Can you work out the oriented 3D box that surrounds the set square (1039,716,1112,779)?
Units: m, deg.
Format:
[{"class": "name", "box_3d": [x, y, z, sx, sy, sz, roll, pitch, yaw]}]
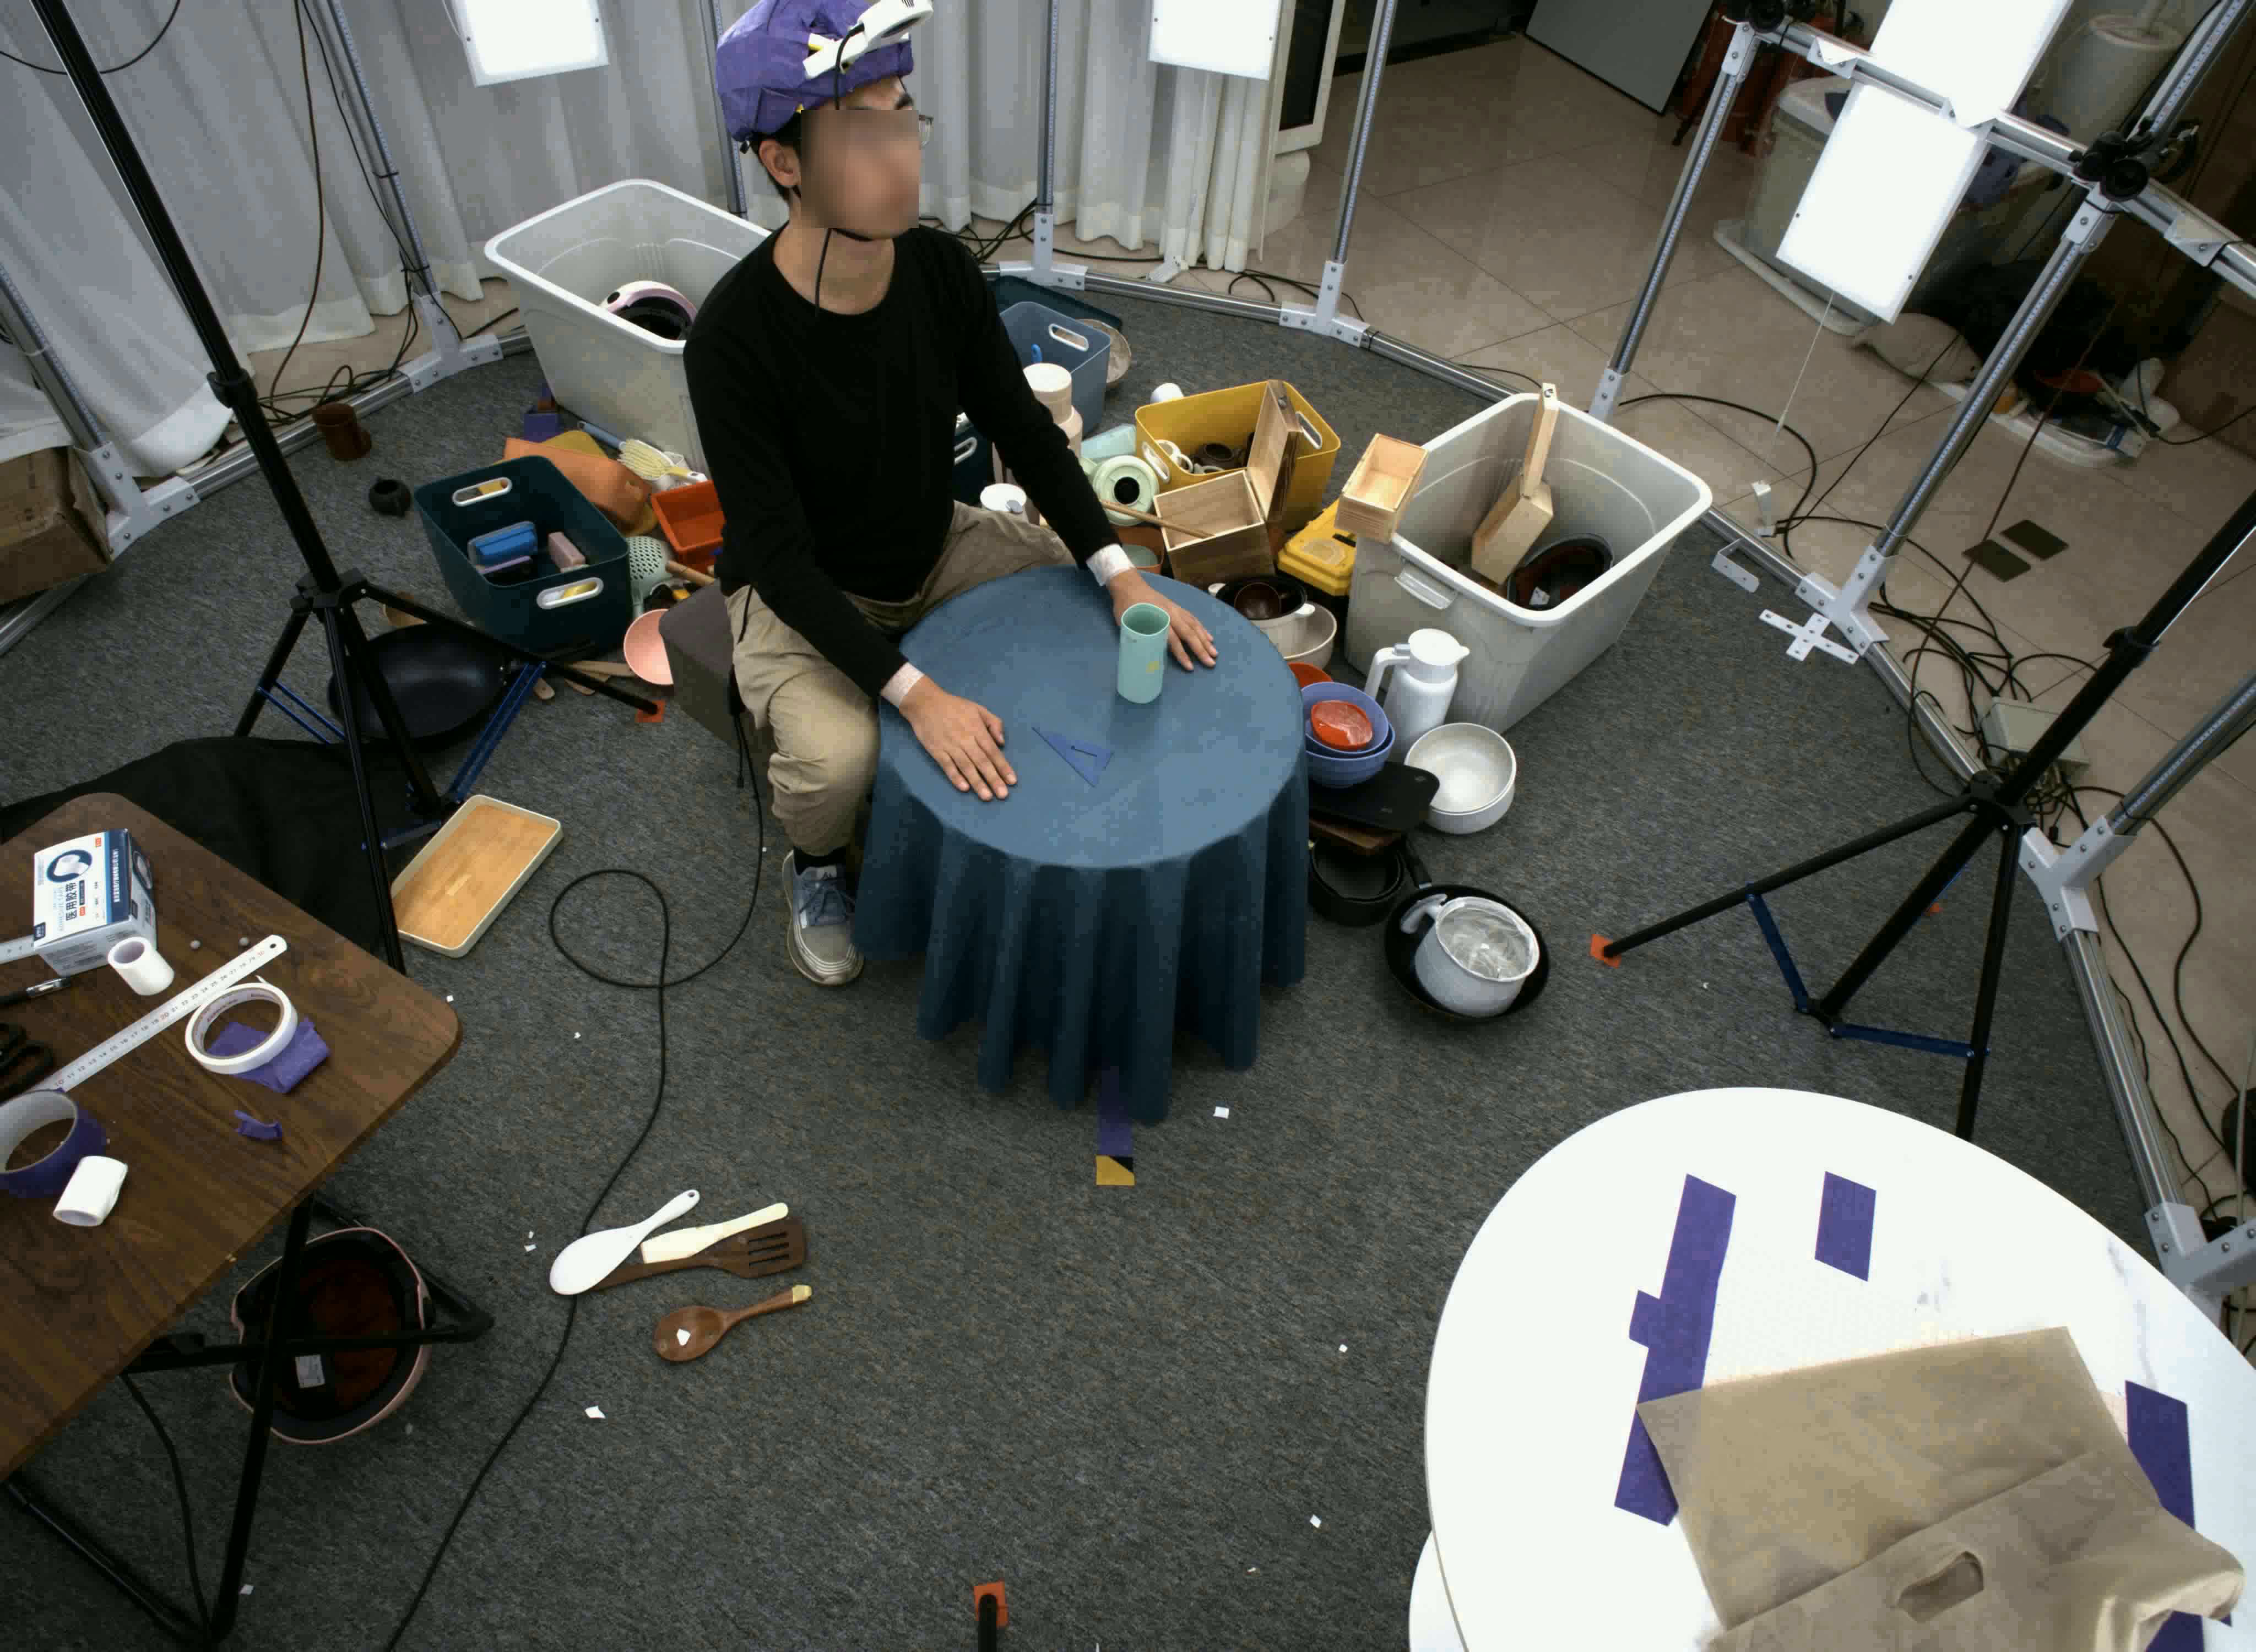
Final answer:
[{"class": "set square", "box_3d": [-0.067, -0.119, 1.765, 0.061, 0.006, 0.134, -27, 56, -22]}]

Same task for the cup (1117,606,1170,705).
[{"class": "cup", "box_3d": [0.019, -0.239, 1.799, 0.066, 0.129, 0.068, 2, 50, -3]}]
